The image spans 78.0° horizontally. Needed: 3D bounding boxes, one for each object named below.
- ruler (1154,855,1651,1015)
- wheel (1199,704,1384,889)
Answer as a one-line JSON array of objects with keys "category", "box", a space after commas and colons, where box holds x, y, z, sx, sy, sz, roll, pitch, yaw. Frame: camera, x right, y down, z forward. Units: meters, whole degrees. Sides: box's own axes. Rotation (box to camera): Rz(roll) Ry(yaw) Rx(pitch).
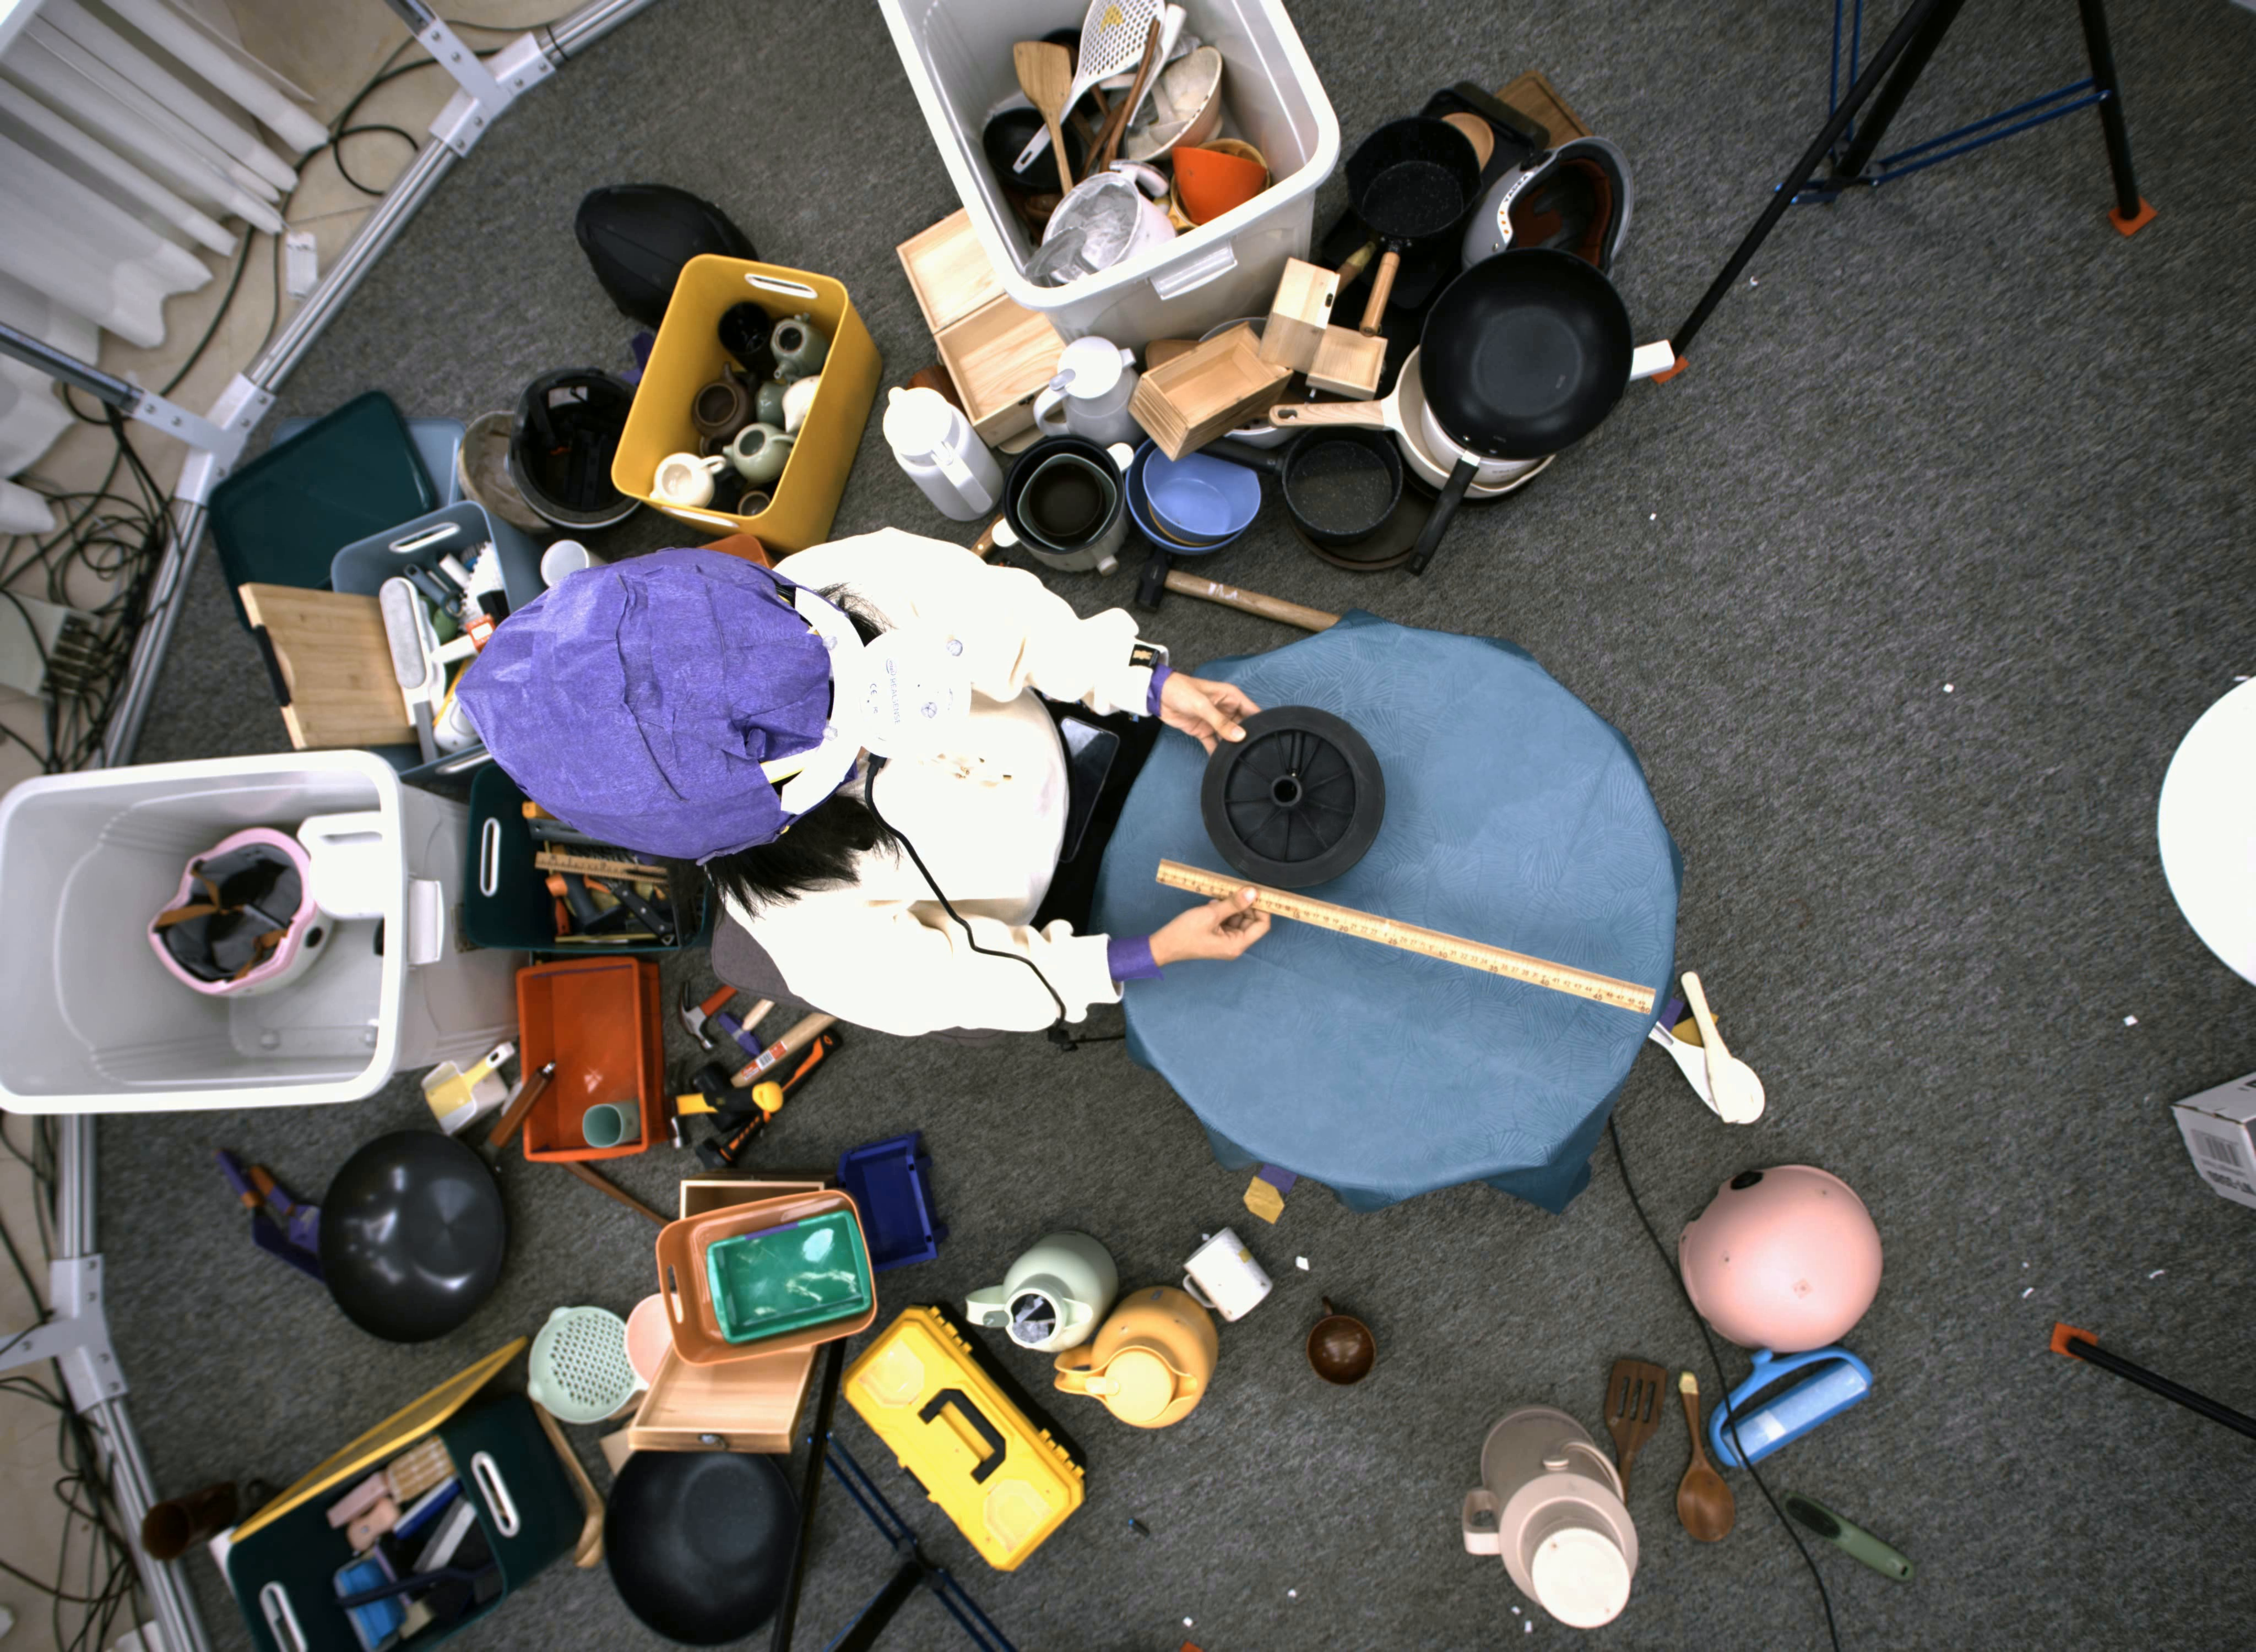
[{"category": "ruler", "box": [0.262, 0.104, 1.369, 0.501, 0.006, 0.027, 15, 97, 16]}, {"category": "wheel", "box": [0.161, -0.033, 1.388, 0.189, 0.079, 0.189, -17, 84, 12]}]
